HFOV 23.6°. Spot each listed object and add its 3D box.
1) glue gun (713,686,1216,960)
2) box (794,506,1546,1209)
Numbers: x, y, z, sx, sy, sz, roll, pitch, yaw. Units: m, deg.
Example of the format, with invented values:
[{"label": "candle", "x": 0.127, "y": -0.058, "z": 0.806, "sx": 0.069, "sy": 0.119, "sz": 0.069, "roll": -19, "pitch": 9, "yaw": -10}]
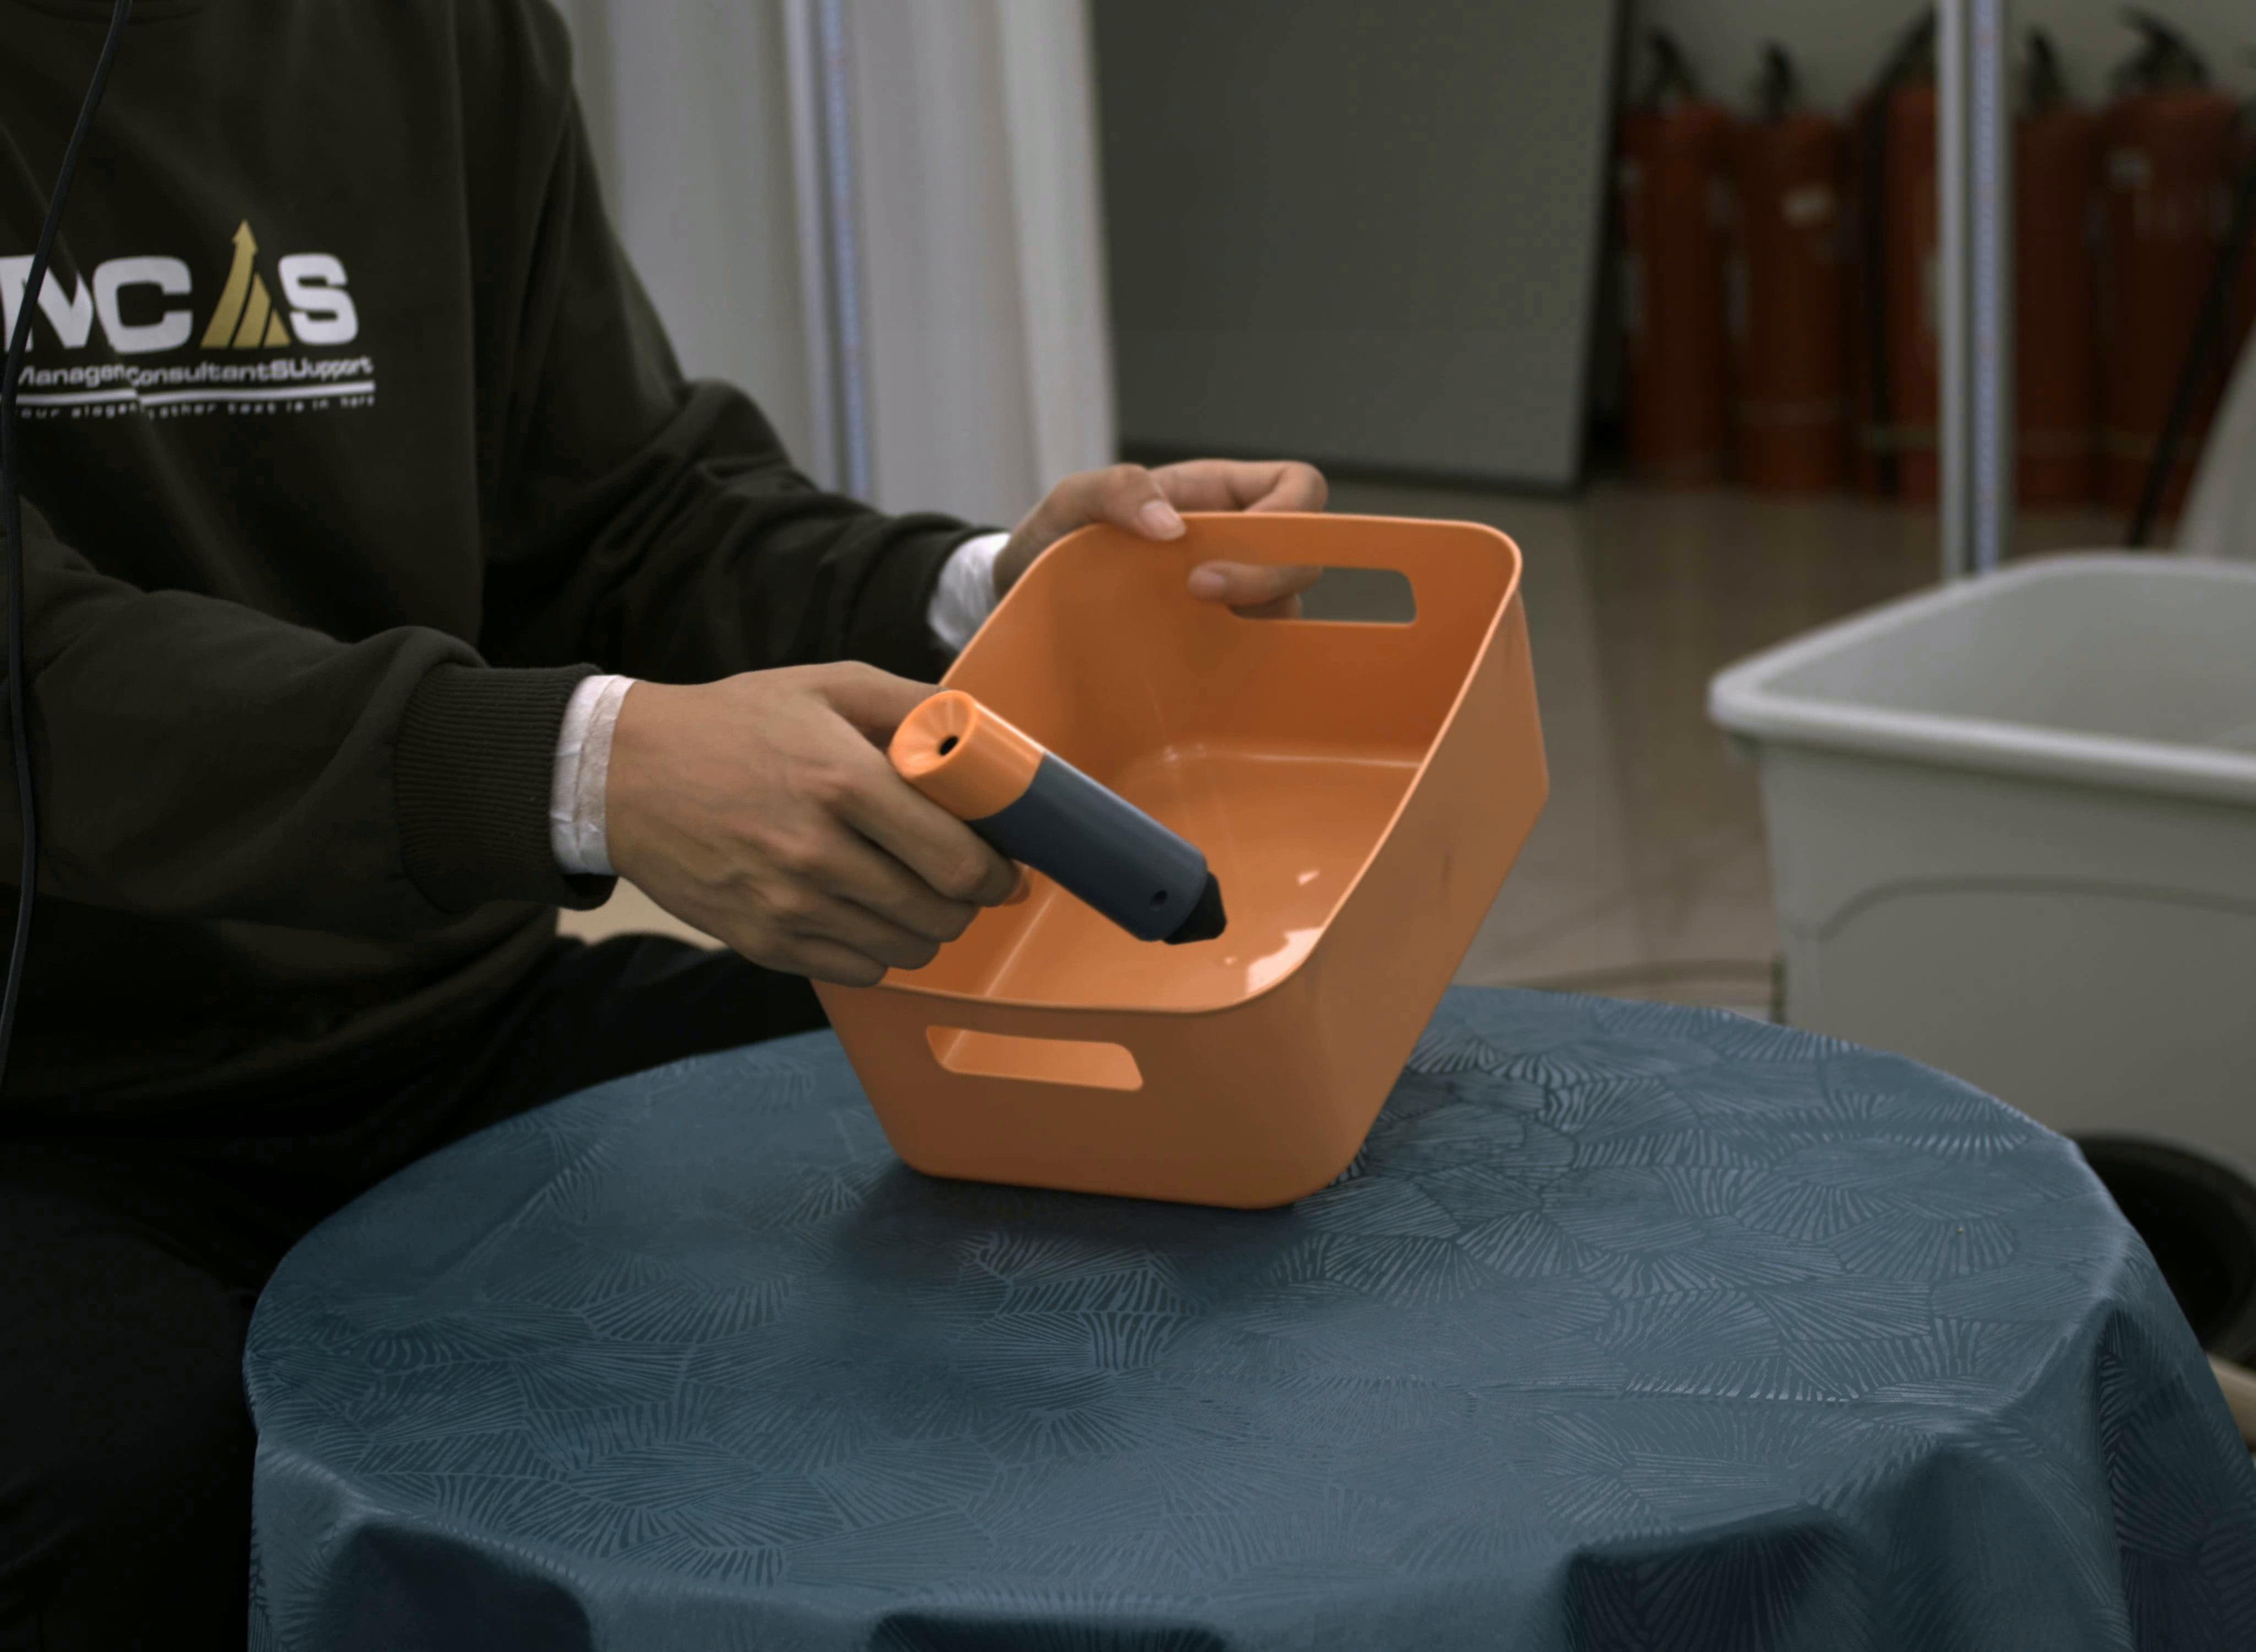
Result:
[{"label": "glue gun", "x": -0.052, "y": 0.007, "z": 1.690, "sx": 0.141, "sy": 0.116, "sz": 0.041, "roll": -8, "pitch": 49, "yaw": 38}, {"label": "box", "x": 0.023, "y": 0.012, "z": 1.834, "sx": 0.200, "sy": 0.102, "sz": 0.272, "roll": 1, "pitch": 39, "yaw": 27}]
